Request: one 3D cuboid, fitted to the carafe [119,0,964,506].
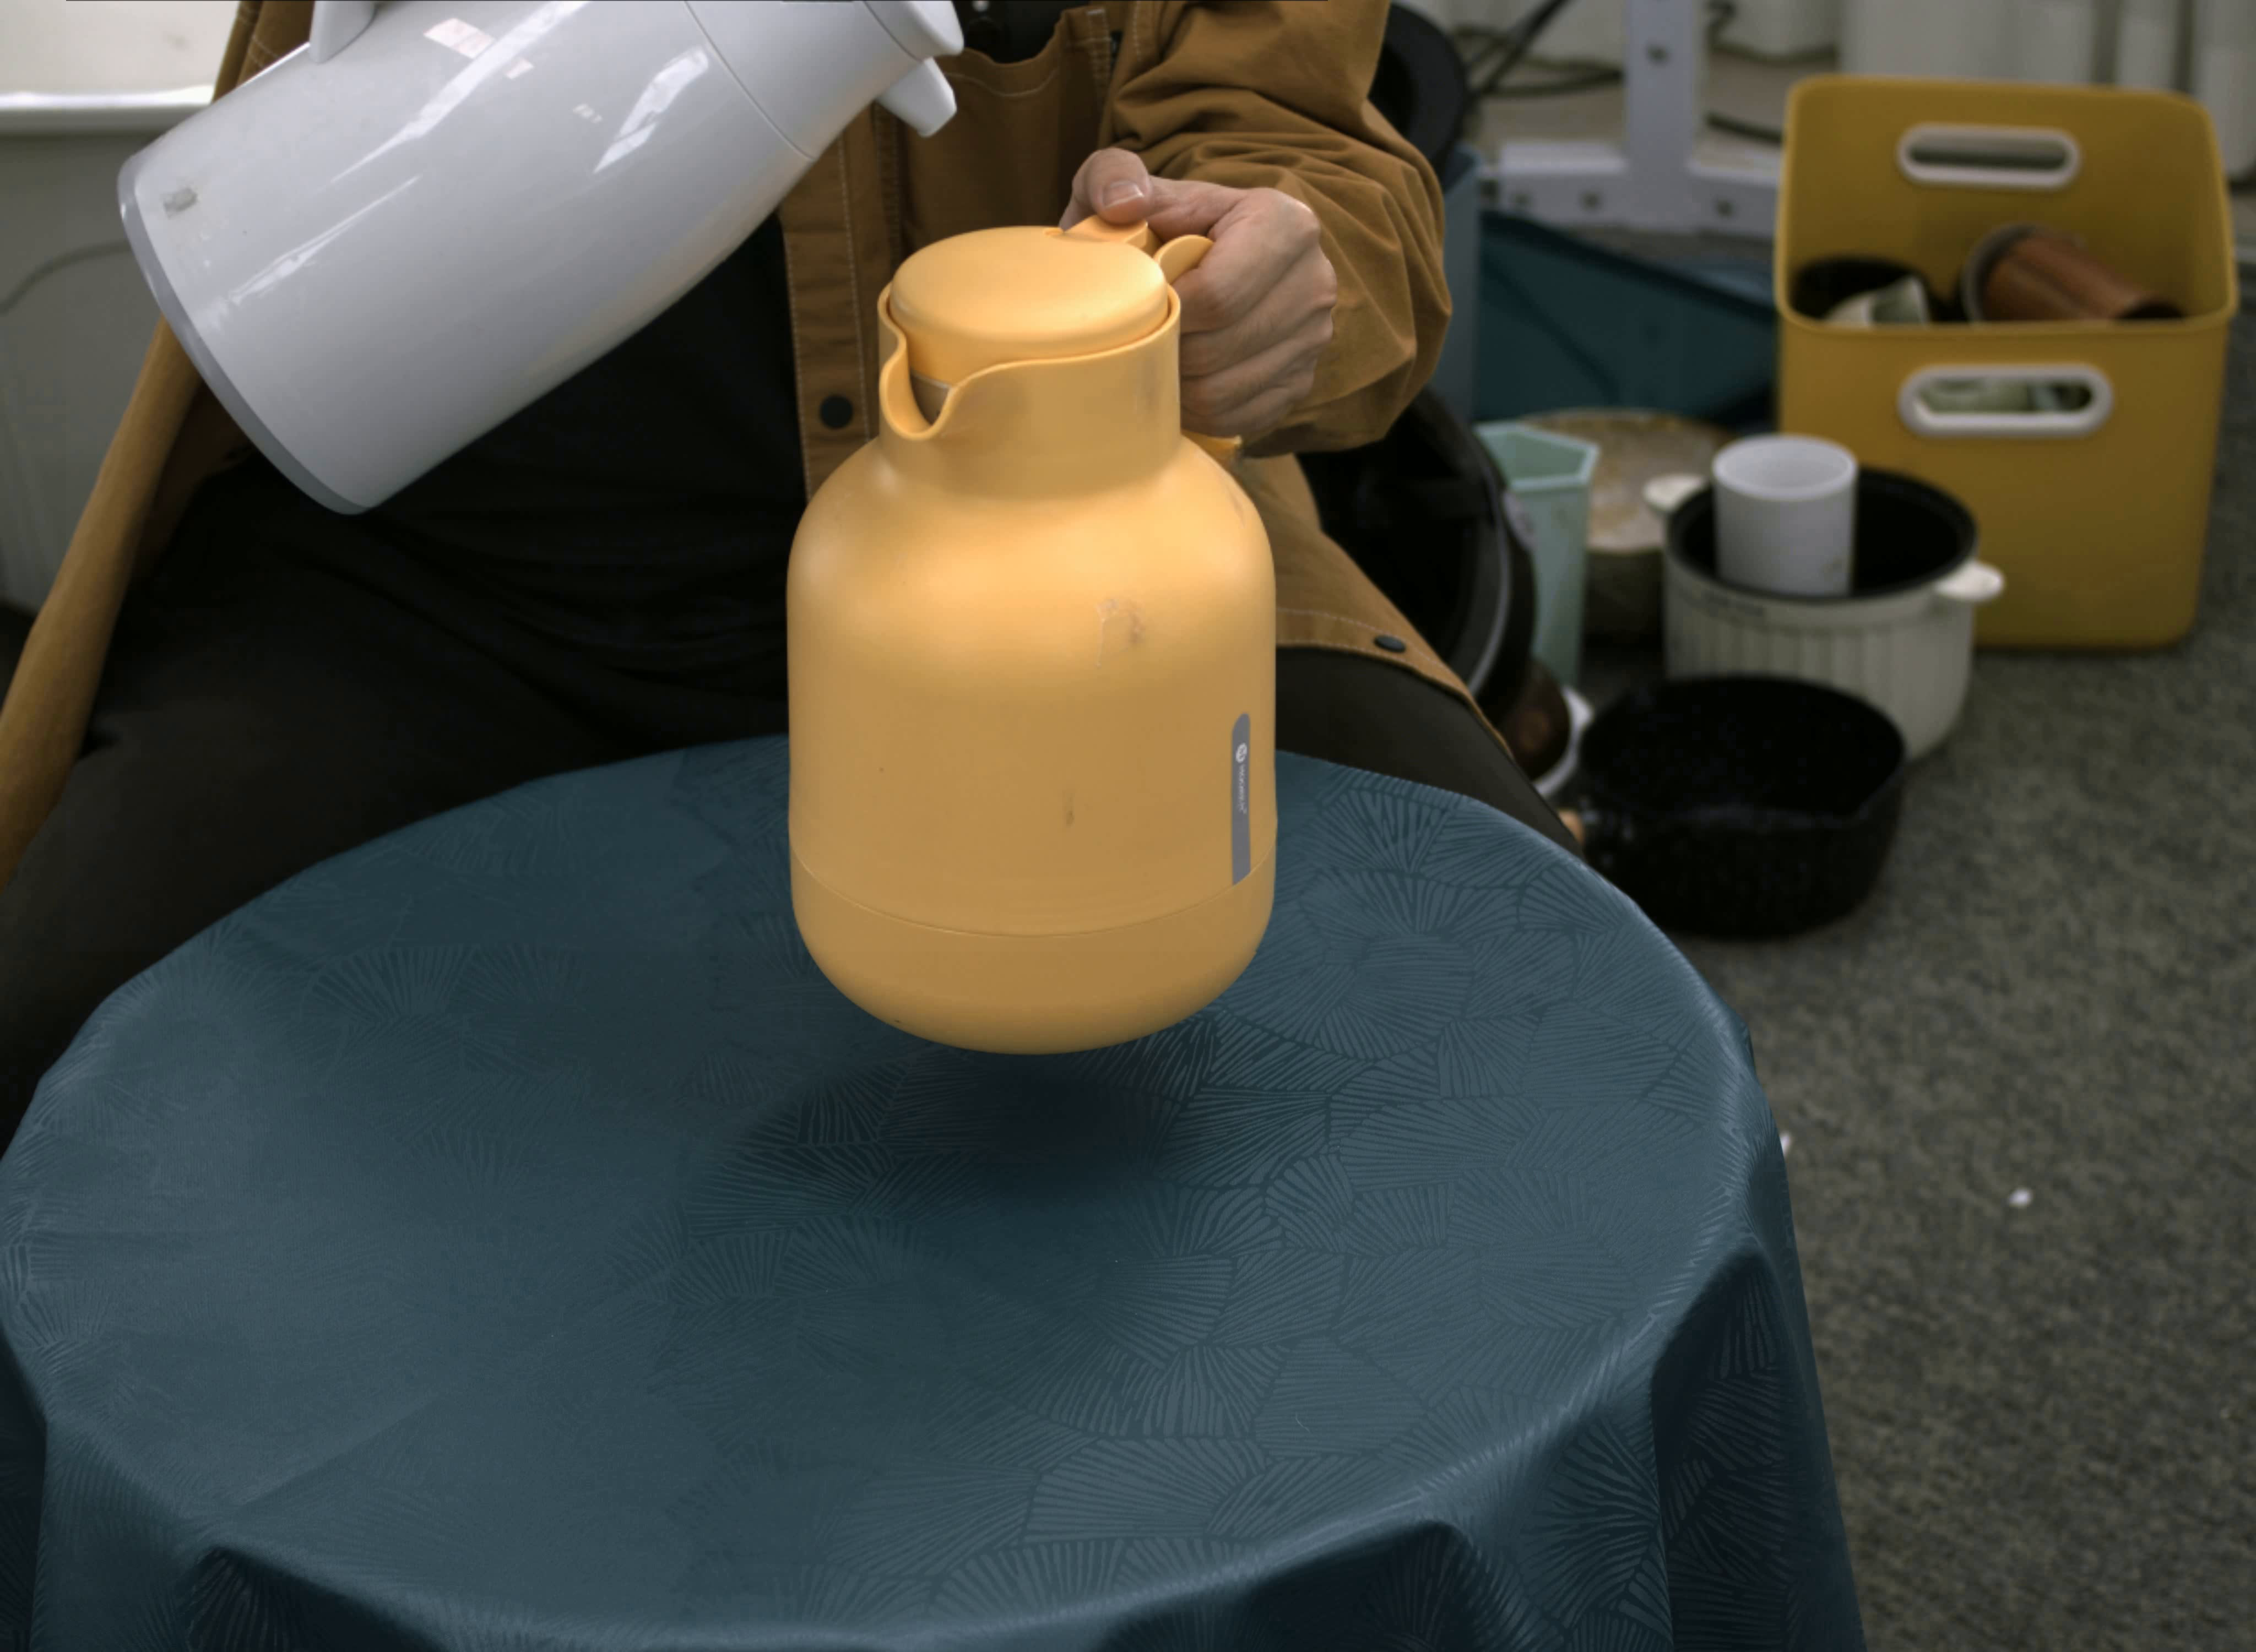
[{"bbox_3d":[-0.183,-0.232,1.735,0.247,0.166,0.134,-32,27,9],"label":"carafe"}]

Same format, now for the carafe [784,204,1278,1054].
[{"bbox_3d":[-0.021,-0.073,1.854,0.163,0.257,0.205,16,31,27],"label":"carafe"}]
